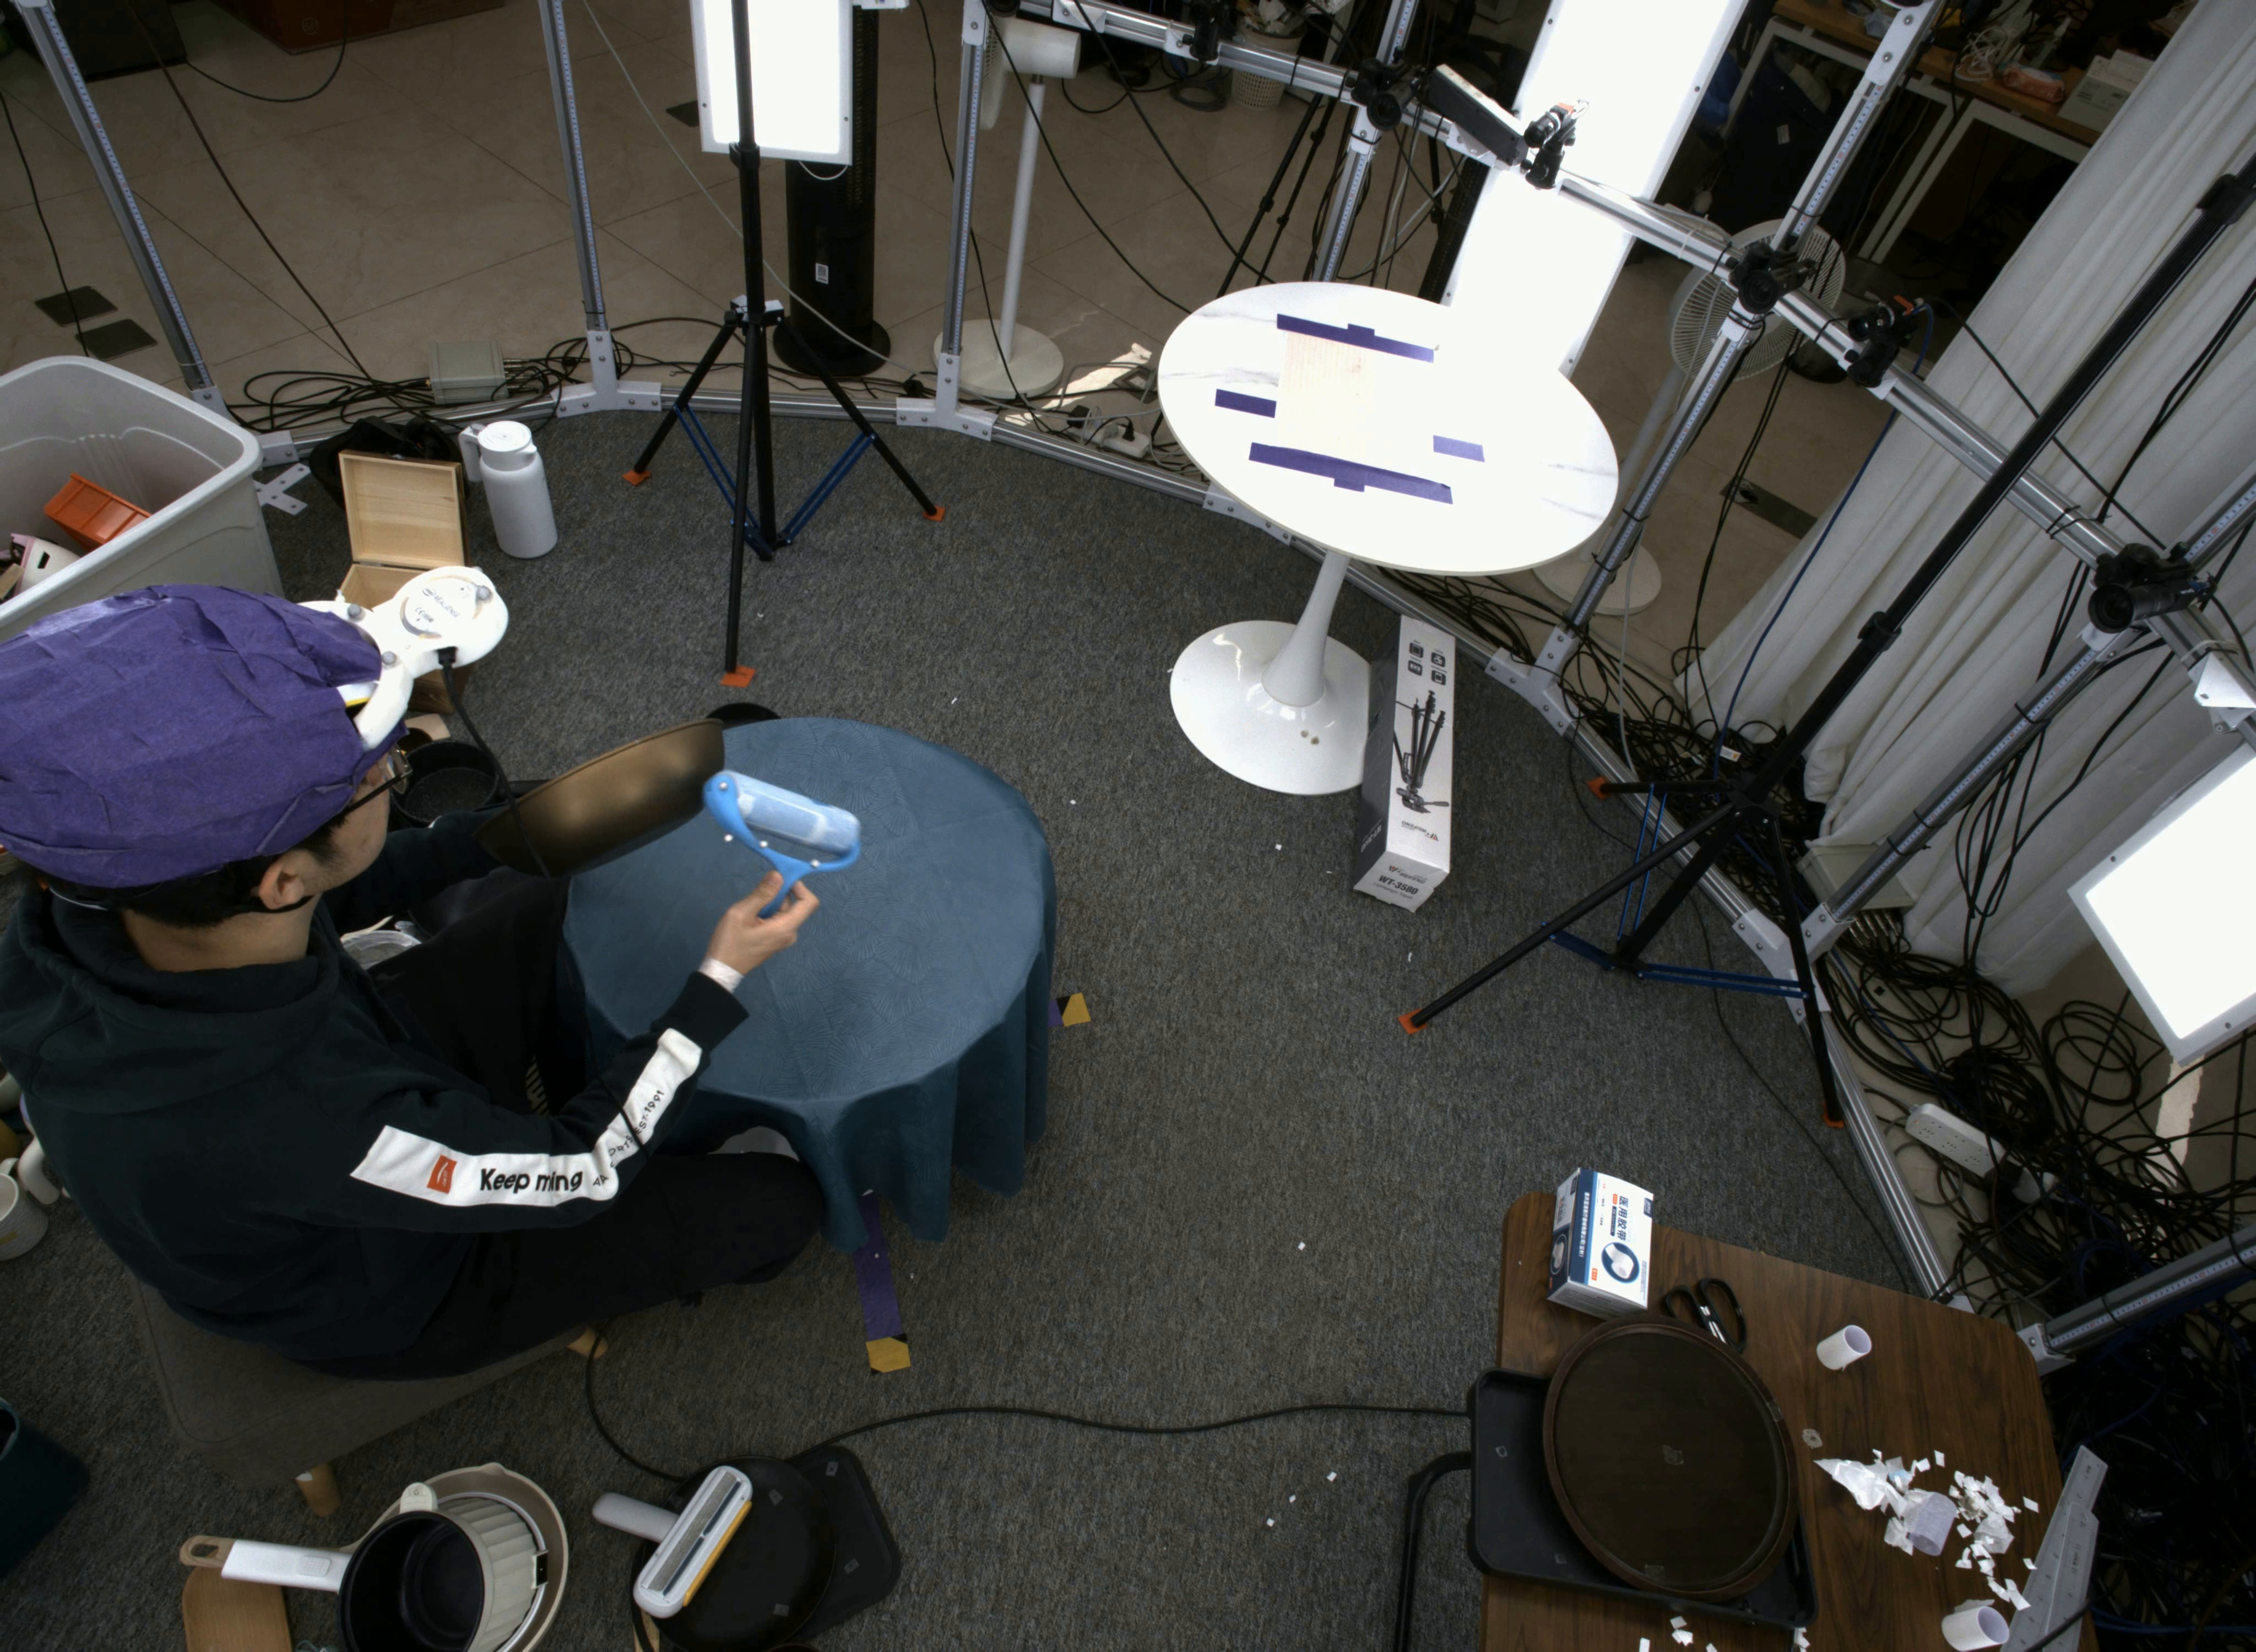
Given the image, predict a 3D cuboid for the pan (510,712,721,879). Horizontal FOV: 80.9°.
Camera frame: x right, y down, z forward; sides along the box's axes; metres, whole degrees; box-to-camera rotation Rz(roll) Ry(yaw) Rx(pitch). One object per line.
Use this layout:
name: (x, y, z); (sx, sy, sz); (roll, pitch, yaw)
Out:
pan: (-0.594, 0.000, 1.434); (0.289, 0.455, 0.088); (-30, 93, -35)

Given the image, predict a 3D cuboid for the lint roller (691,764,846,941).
lint roller: (-0.395, 0.037, 1.404); (0.066, 0.233, 0.182); (8, 88, 23)
